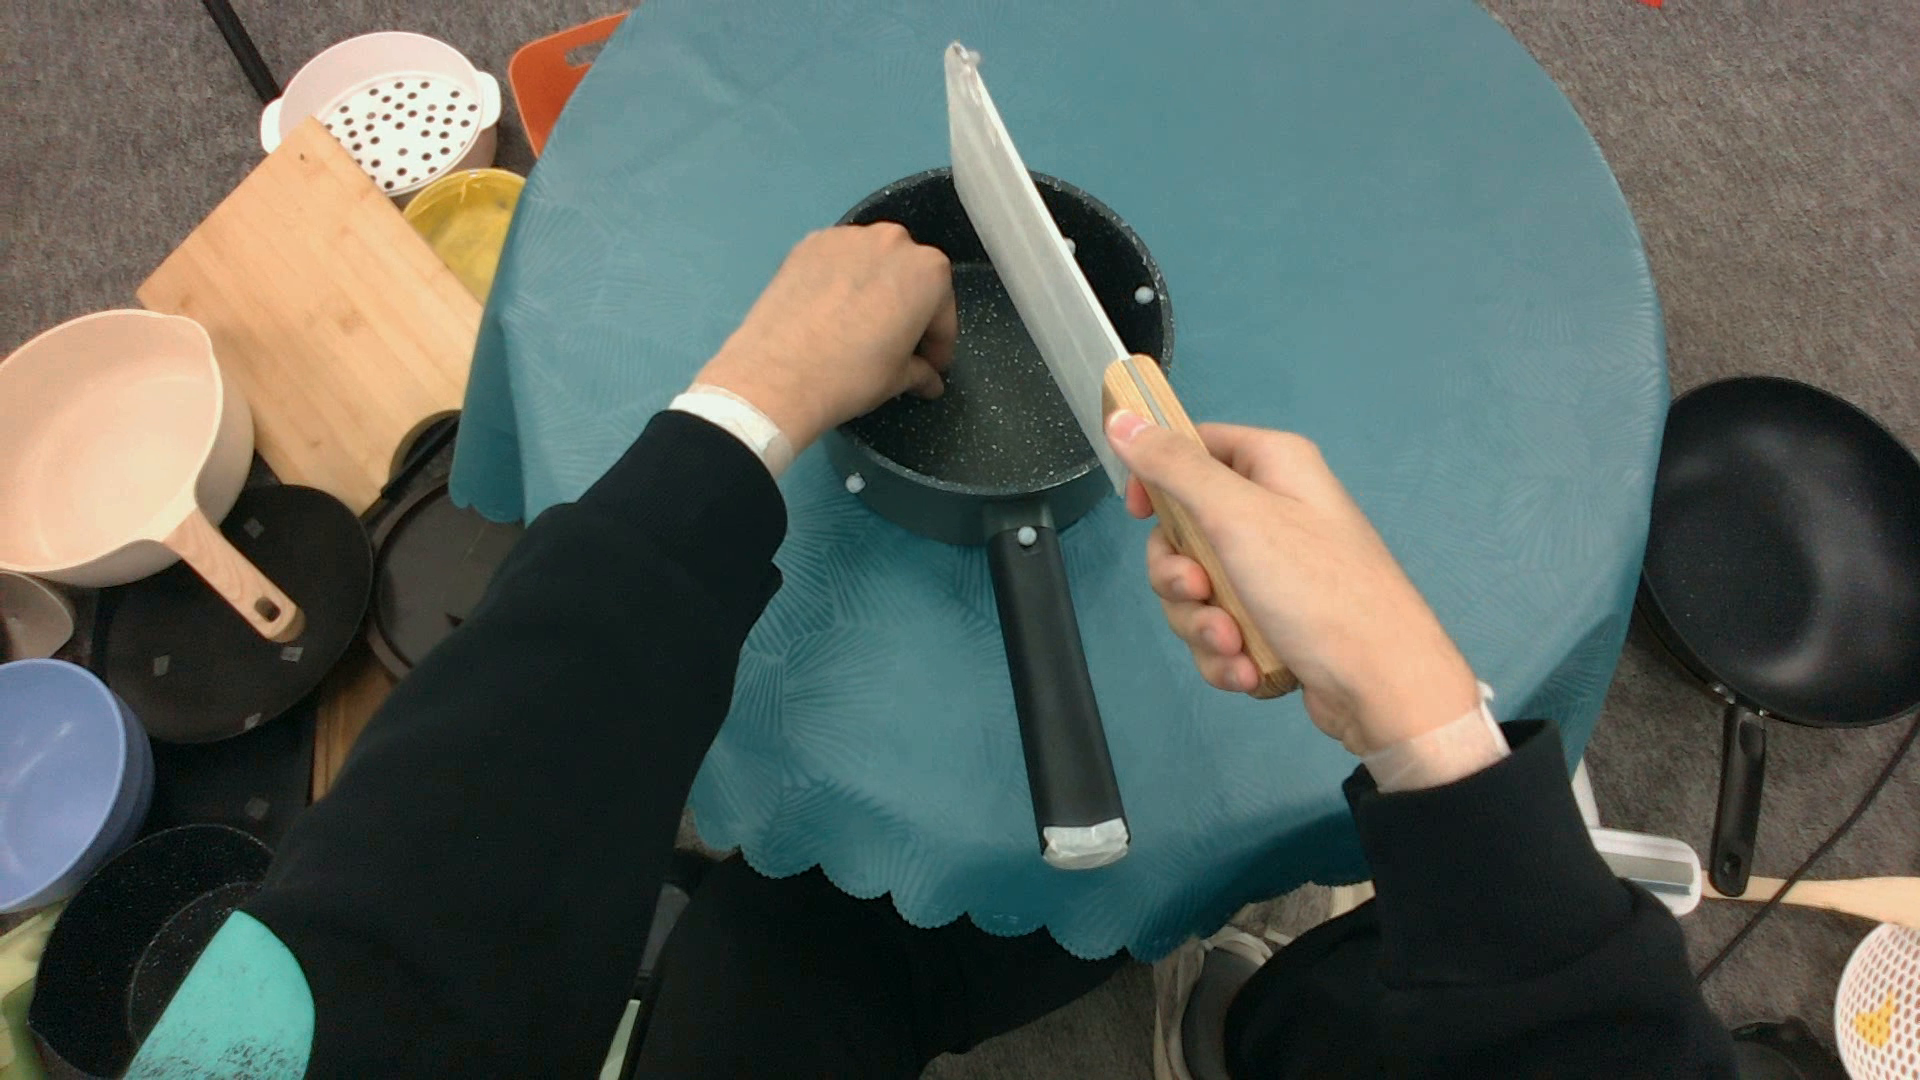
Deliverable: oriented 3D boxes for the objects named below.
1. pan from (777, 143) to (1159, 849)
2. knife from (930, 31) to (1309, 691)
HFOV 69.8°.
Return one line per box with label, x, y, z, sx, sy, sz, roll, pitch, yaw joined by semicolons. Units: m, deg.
pan;0.013;-0.022;0.619;0.172;0.086;0.329;-6;67;-3
knife;0.045;-0.076;0.528;0.022;0.113;0.316;-21;57;-9
